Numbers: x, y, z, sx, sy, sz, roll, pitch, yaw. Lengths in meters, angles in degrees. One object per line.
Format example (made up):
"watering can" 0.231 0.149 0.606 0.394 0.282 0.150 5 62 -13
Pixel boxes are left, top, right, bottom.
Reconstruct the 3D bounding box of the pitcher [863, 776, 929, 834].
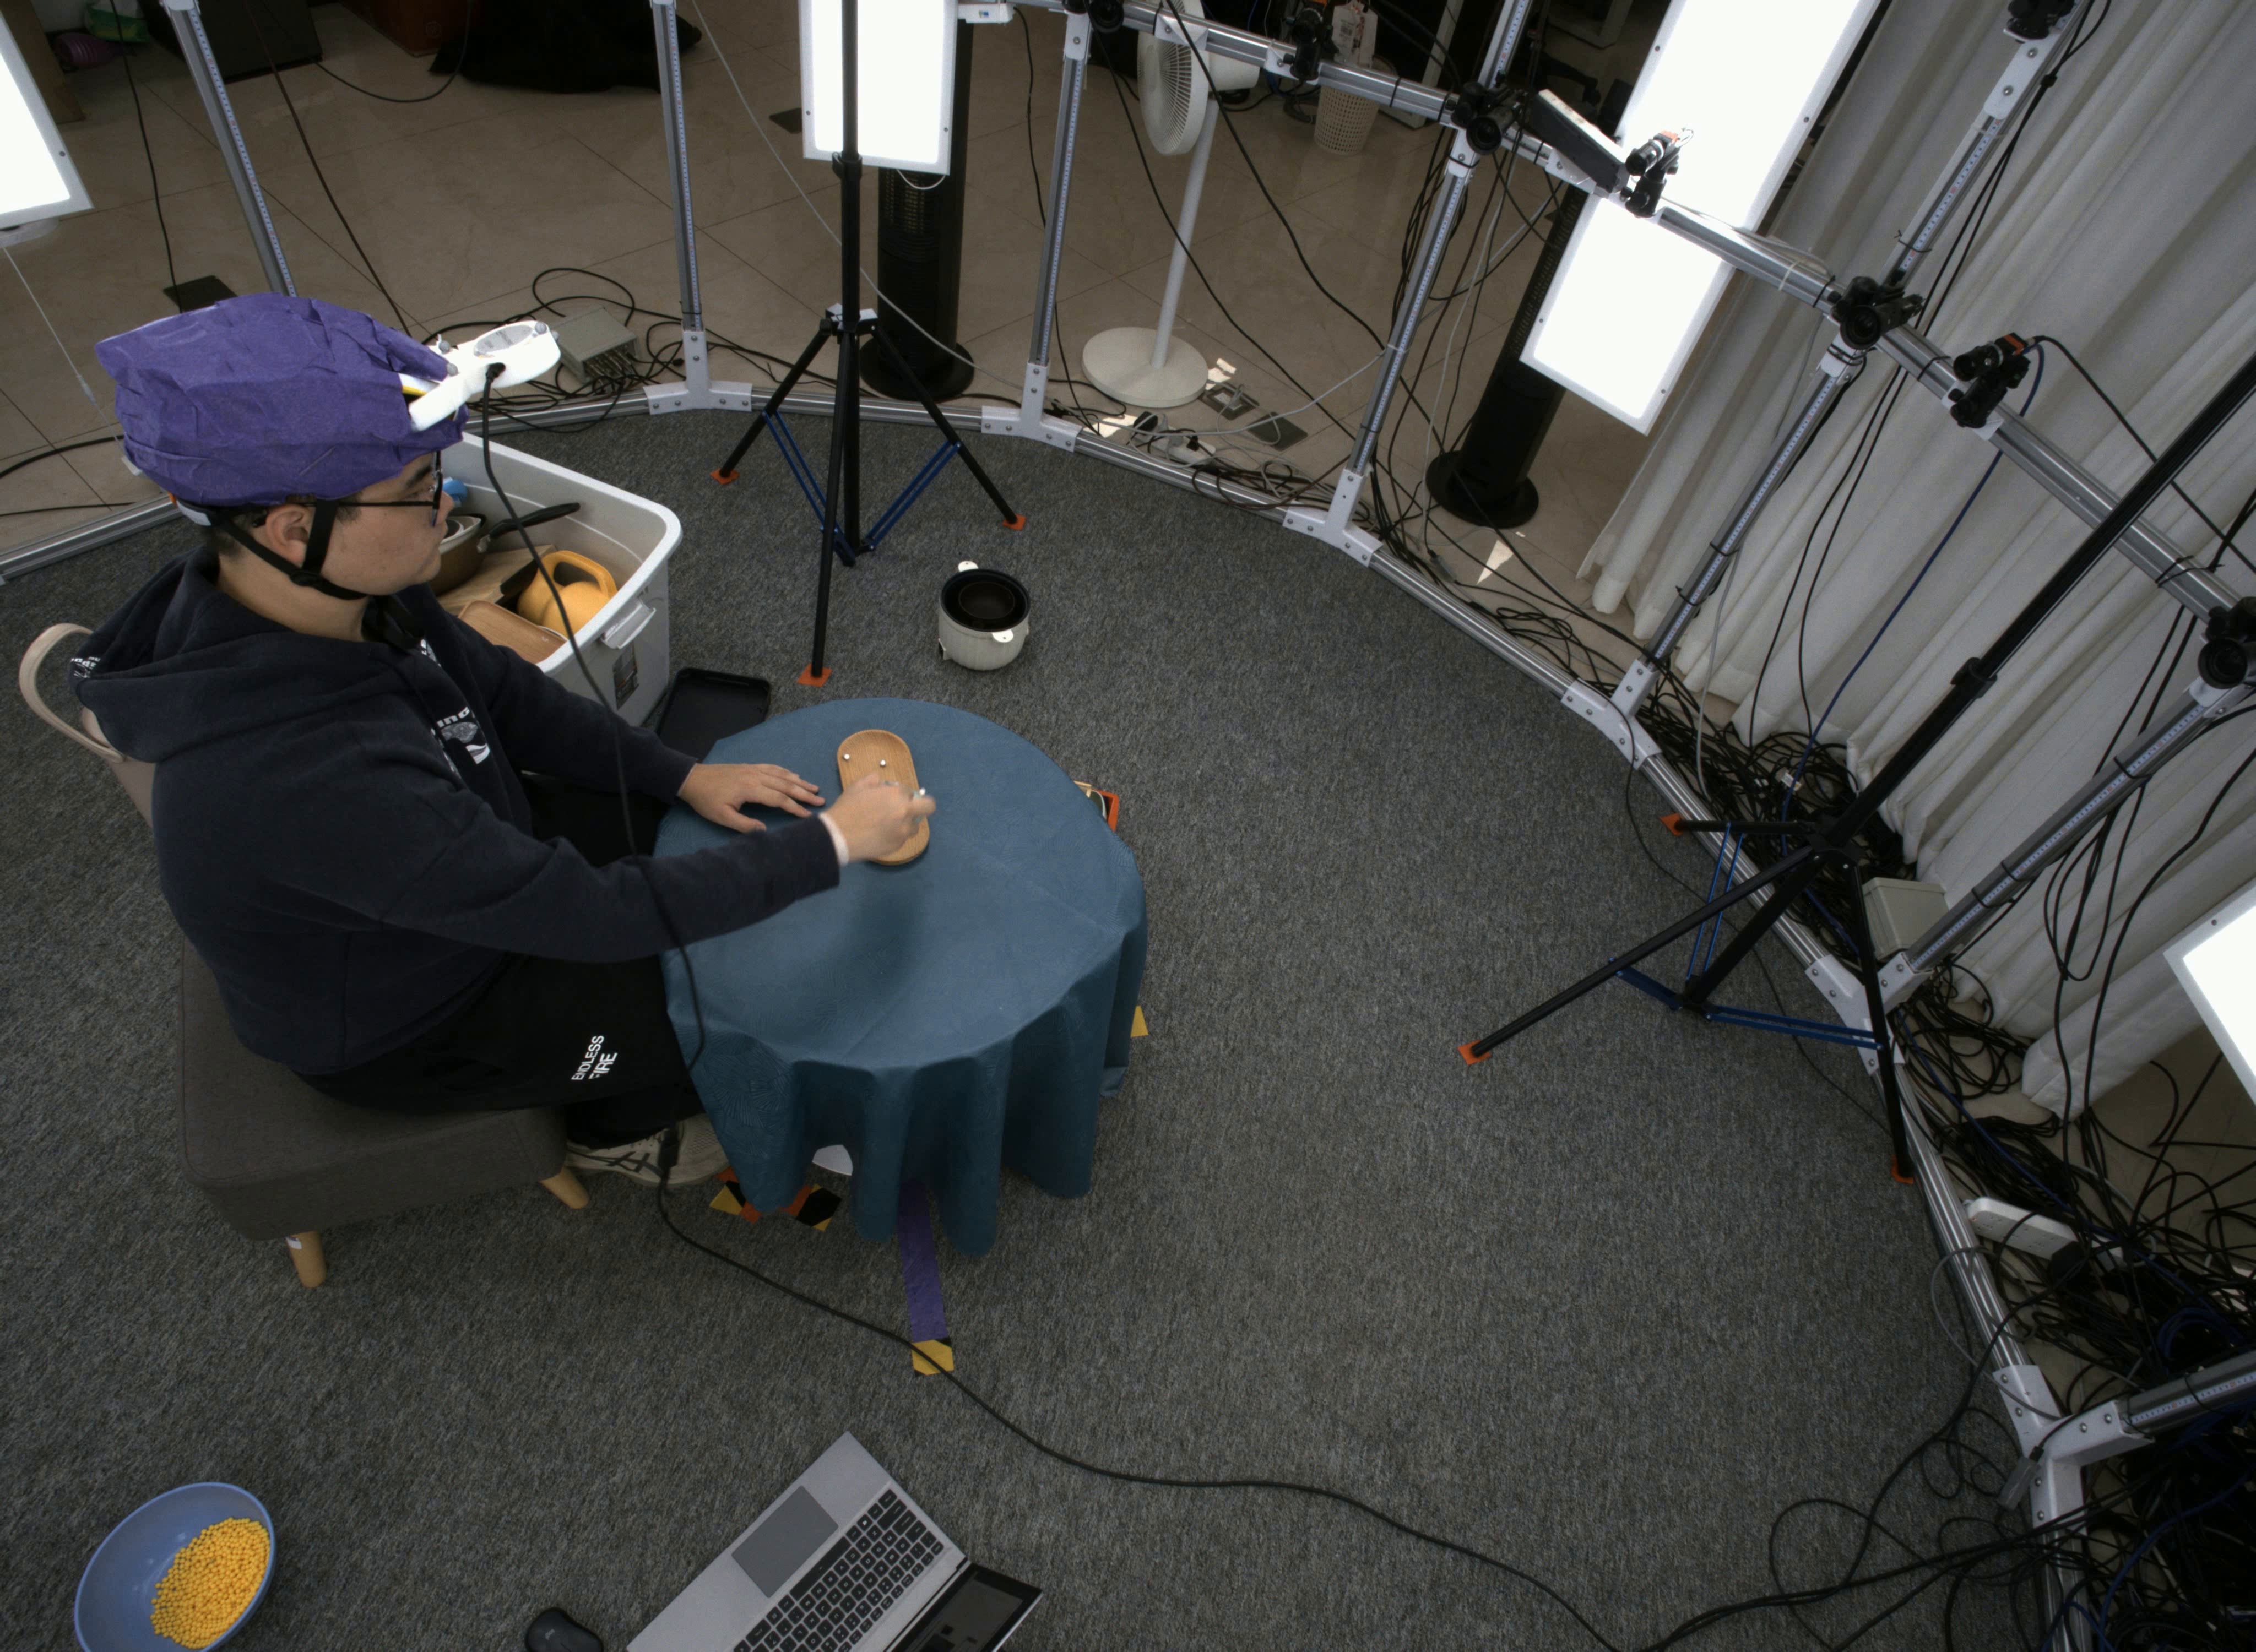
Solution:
"pitcher" -0.285 -0.026 1.589 0.086 0.062 0.105 -24 18 -15

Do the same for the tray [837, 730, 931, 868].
"tray" -0.332 -0.039 1.763 0.102 0.021 0.226 -9 59 -18
